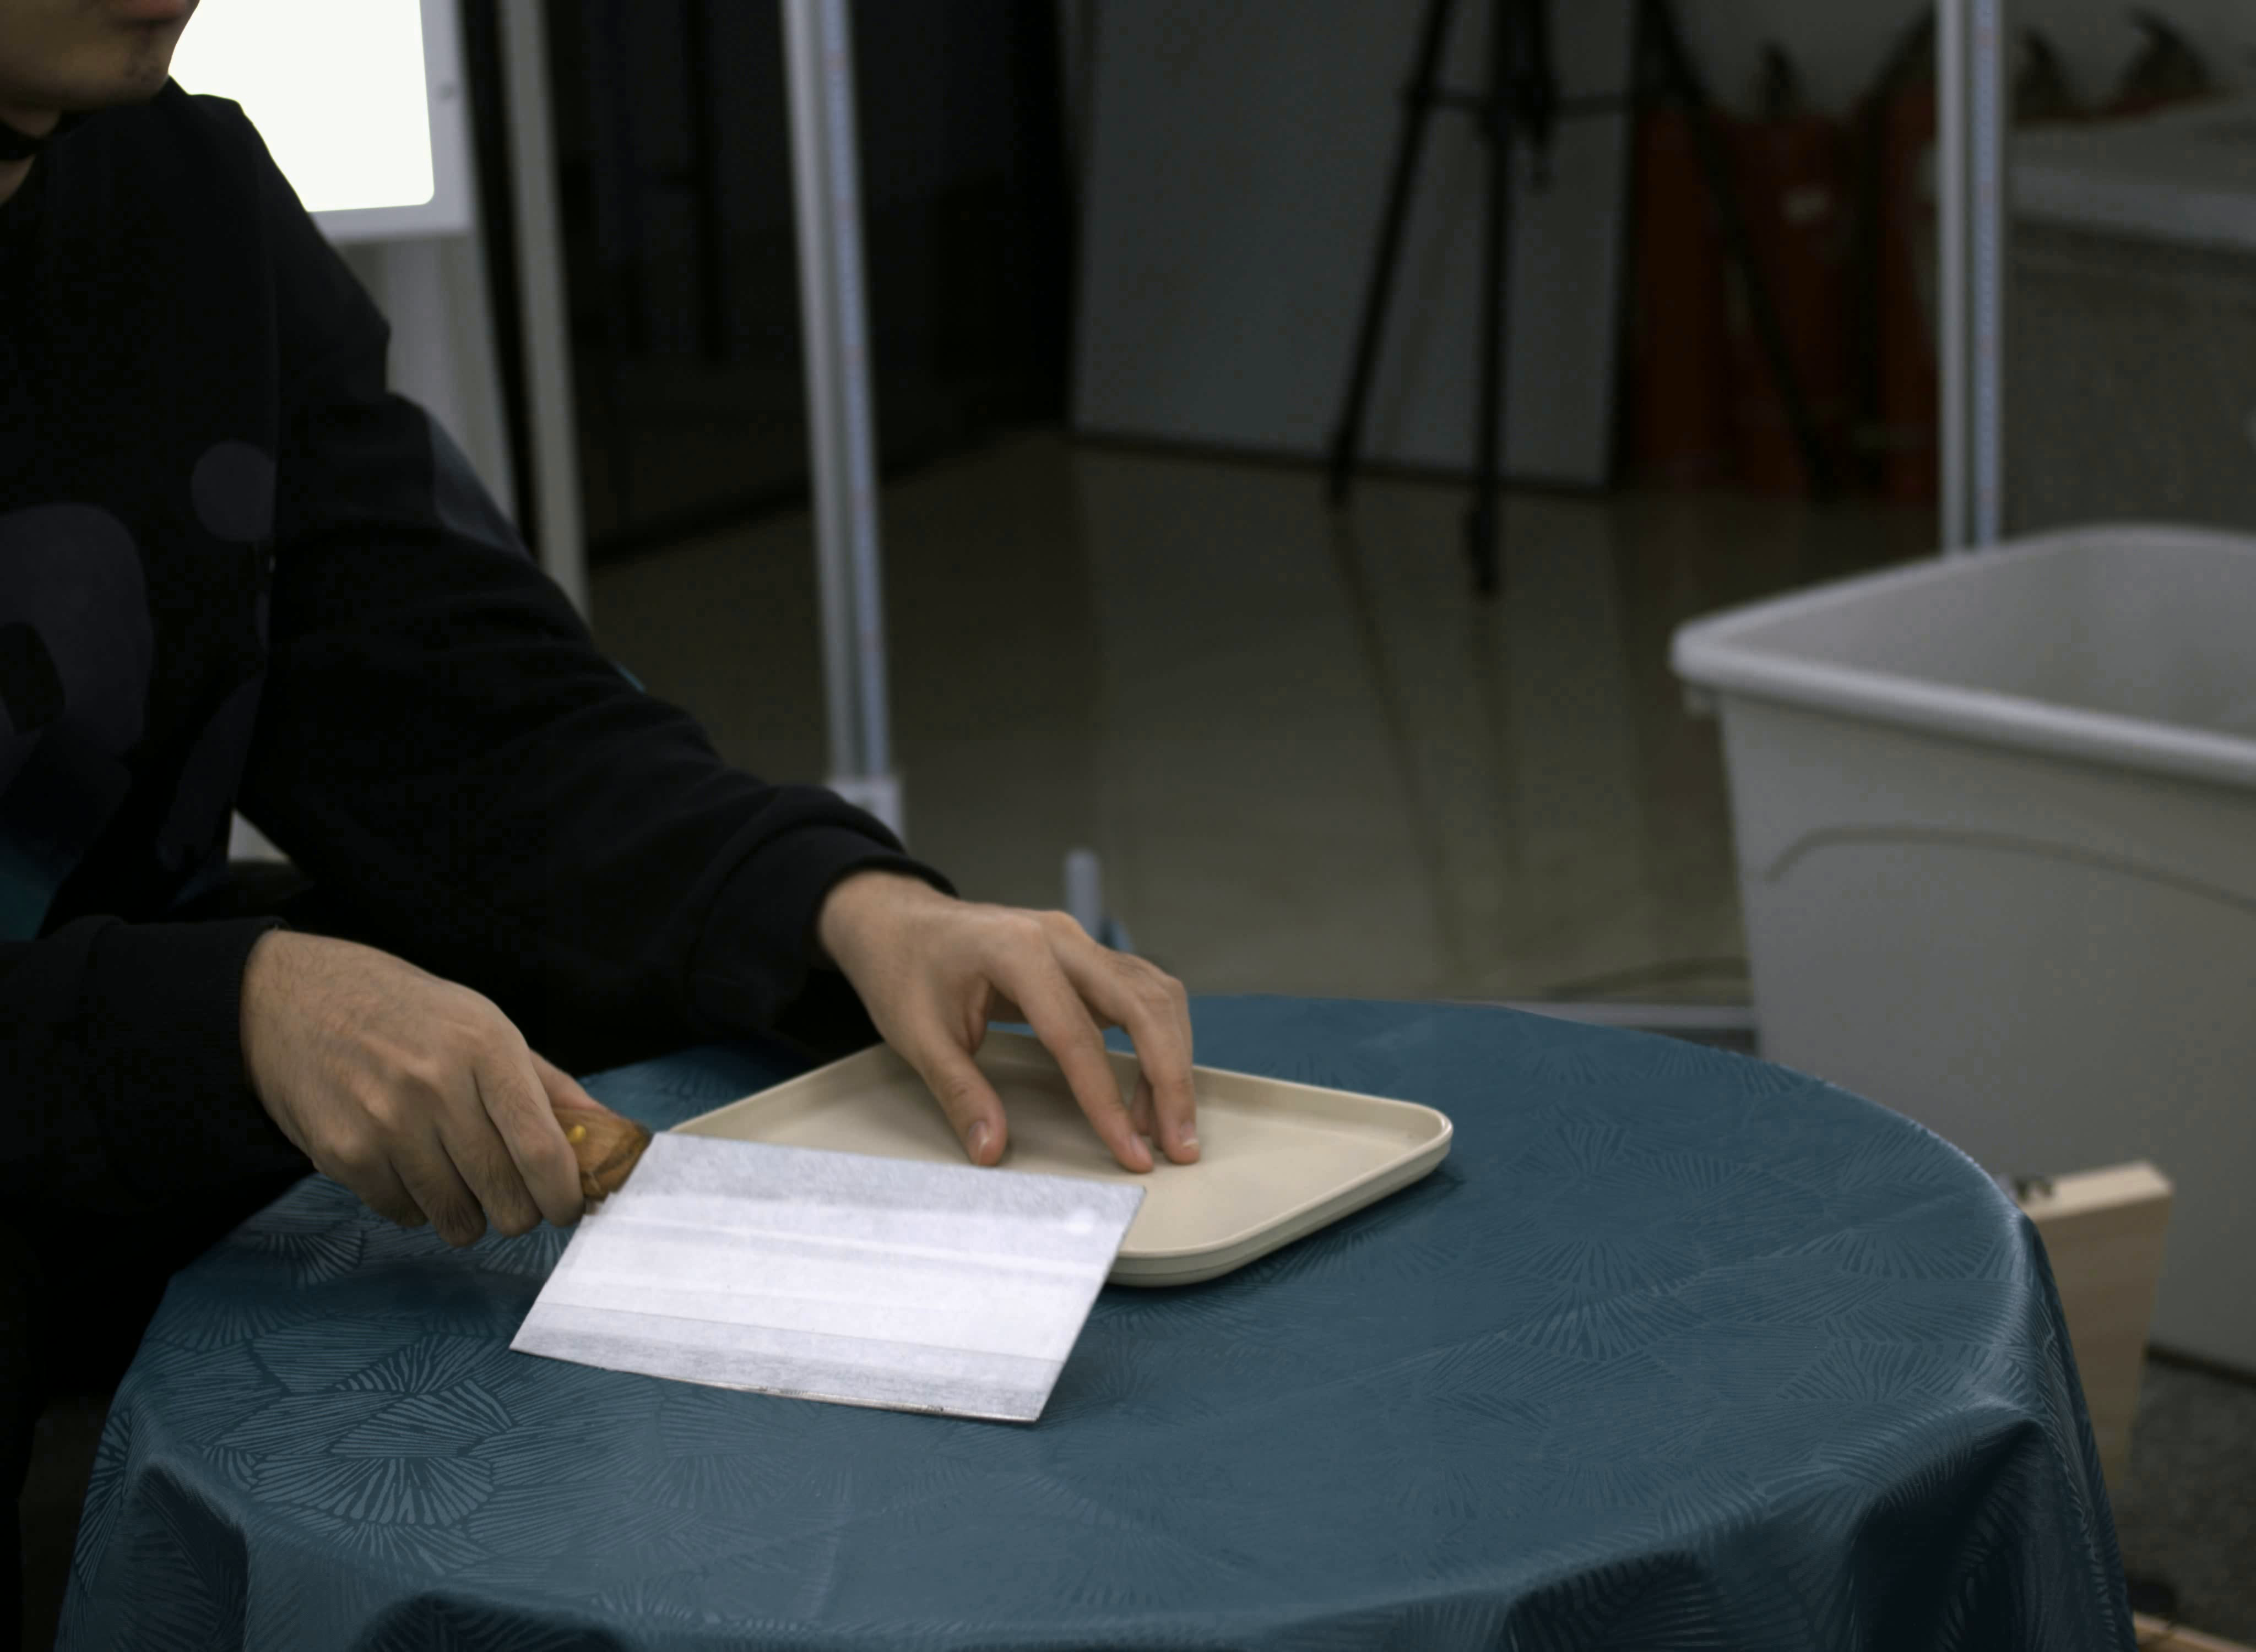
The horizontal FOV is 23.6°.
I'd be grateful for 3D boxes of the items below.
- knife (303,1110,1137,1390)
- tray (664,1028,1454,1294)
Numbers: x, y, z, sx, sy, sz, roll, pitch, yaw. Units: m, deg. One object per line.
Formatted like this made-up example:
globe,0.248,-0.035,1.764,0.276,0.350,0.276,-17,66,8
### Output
knife,-0.139,0.132,1.663,0.307,0.021,0.093,4,48,31
tray,-0.023,0.110,1.784,0.241,0.017,0.168,8,20,40
